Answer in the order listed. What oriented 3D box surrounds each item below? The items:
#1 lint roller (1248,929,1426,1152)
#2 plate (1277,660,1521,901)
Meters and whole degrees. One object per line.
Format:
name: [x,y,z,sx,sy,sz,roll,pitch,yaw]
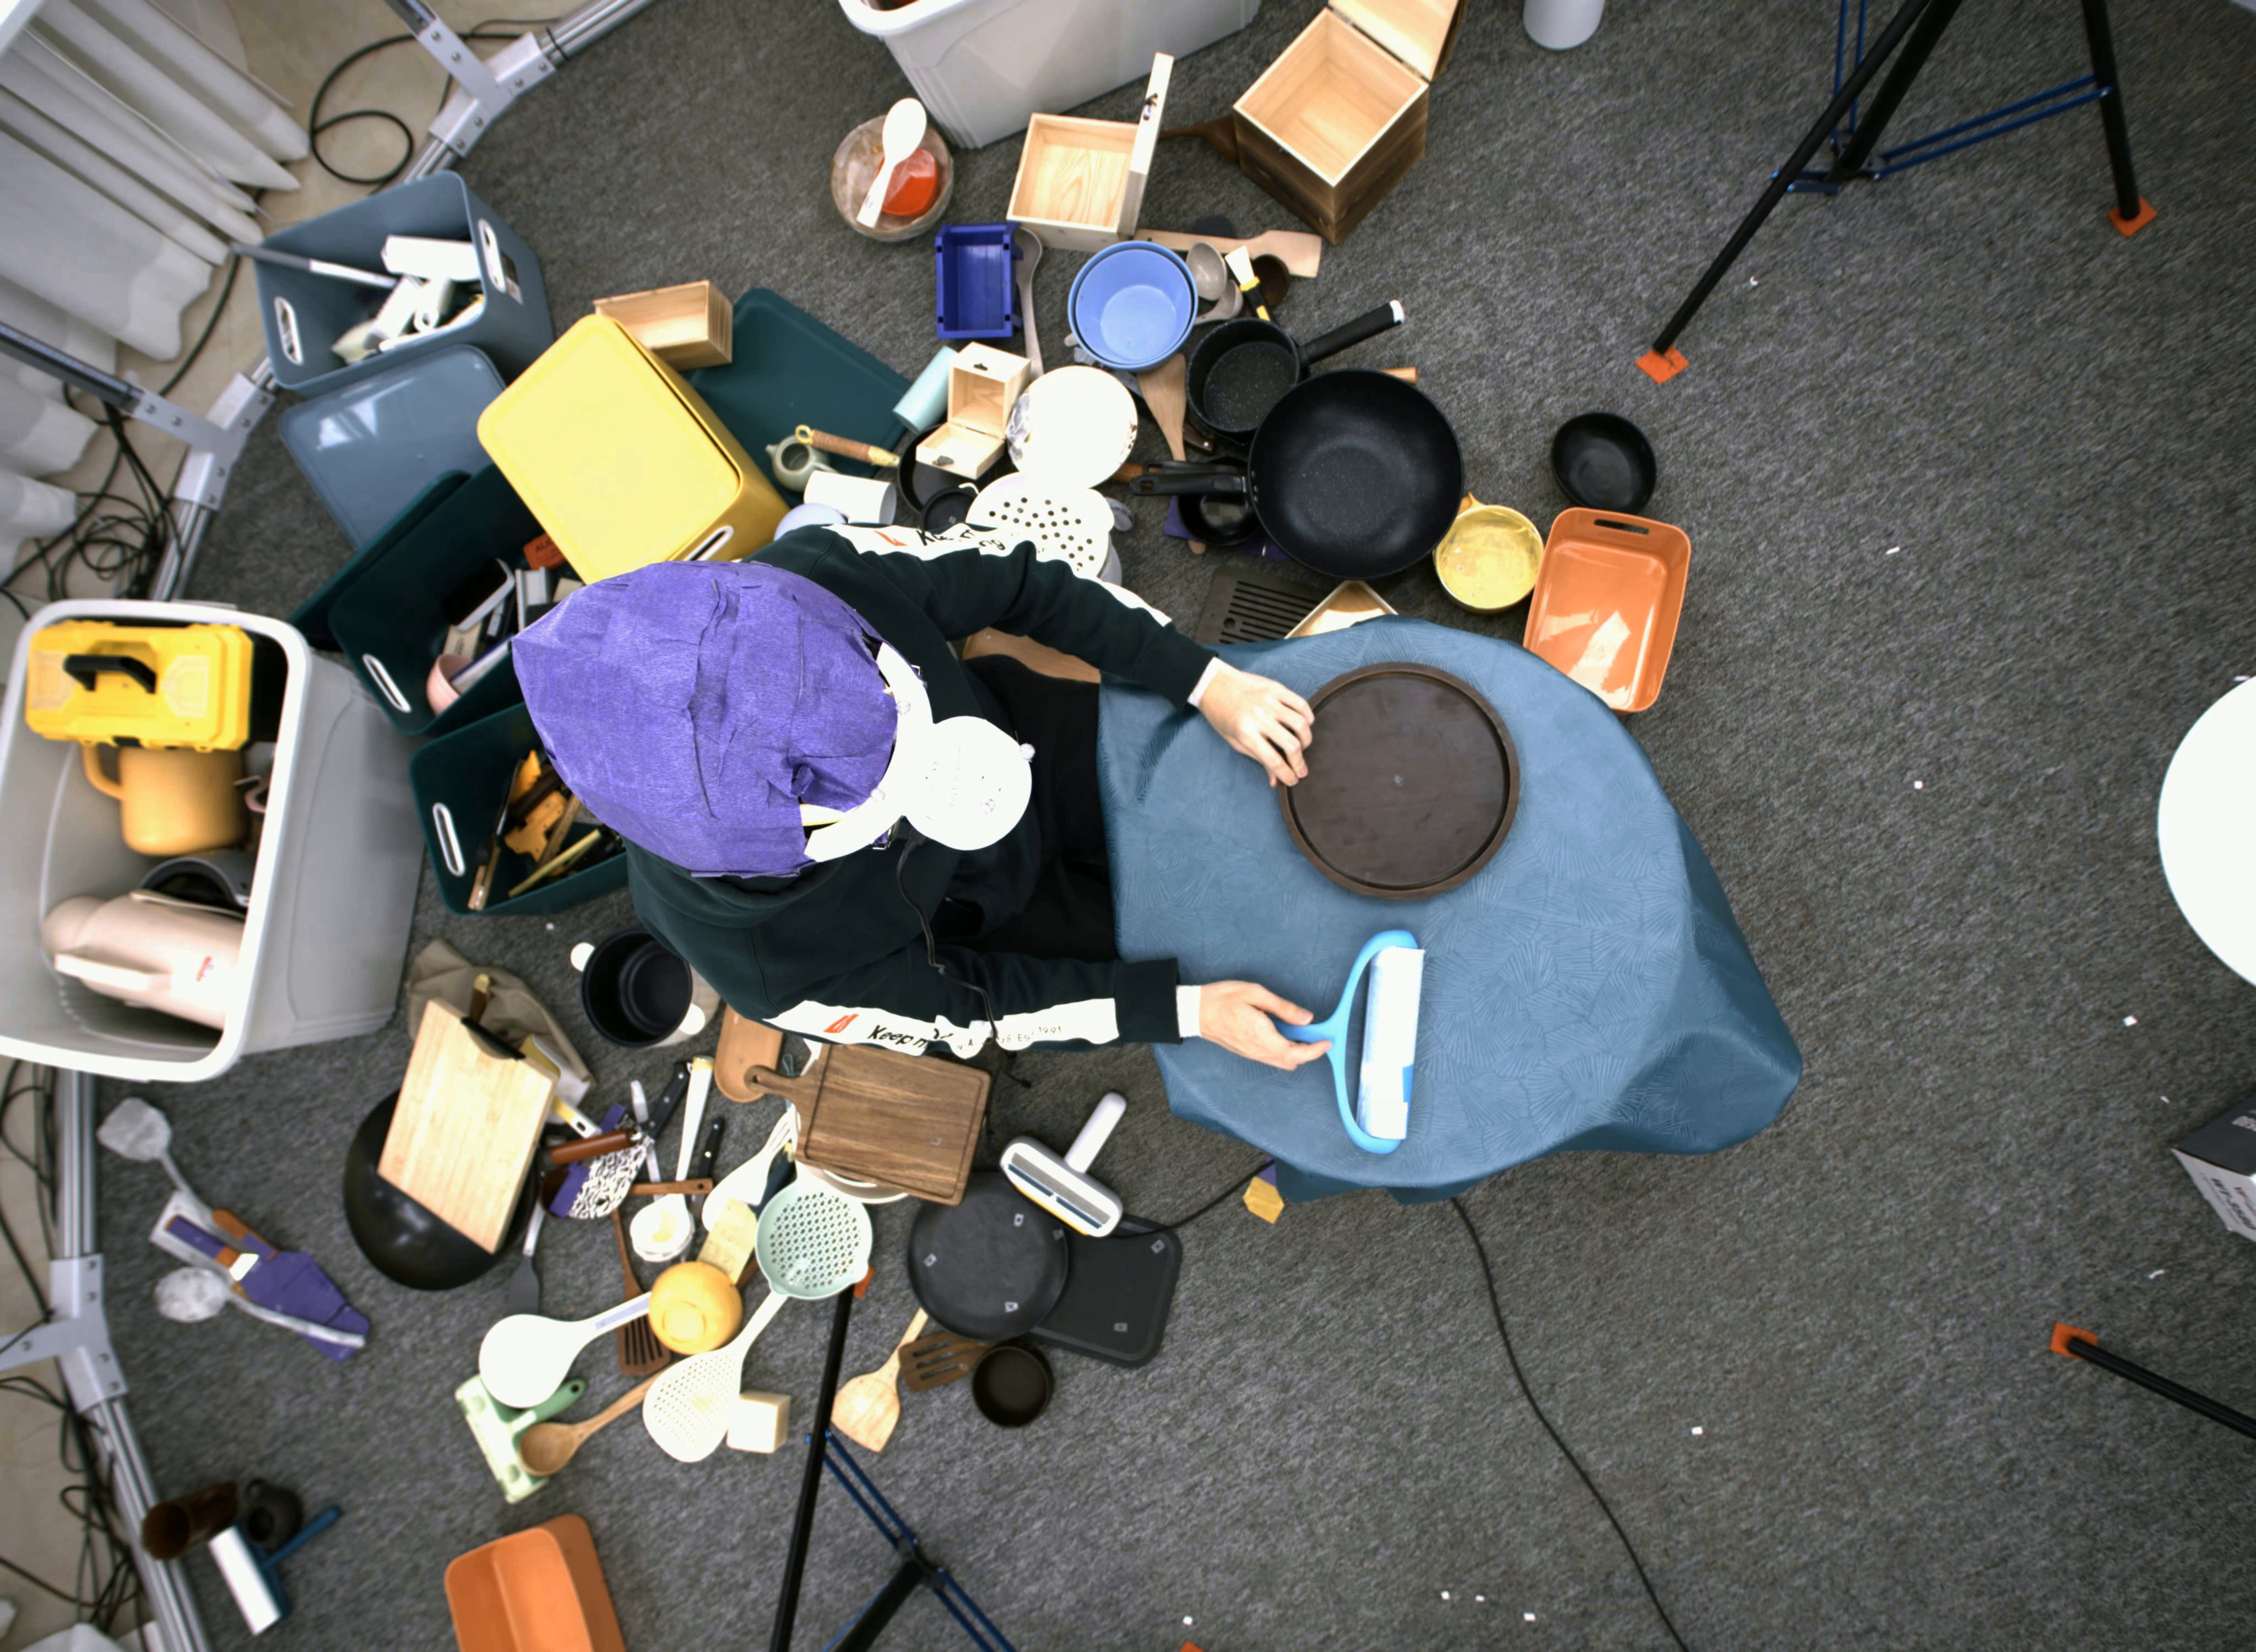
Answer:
lint roller: [0.212,0.216,1.430,0.181,0.068,0.228,2,89,10]
plate: [0.282,-0.049,1.441,0.255,0.029,0.253,-1,87,6]
